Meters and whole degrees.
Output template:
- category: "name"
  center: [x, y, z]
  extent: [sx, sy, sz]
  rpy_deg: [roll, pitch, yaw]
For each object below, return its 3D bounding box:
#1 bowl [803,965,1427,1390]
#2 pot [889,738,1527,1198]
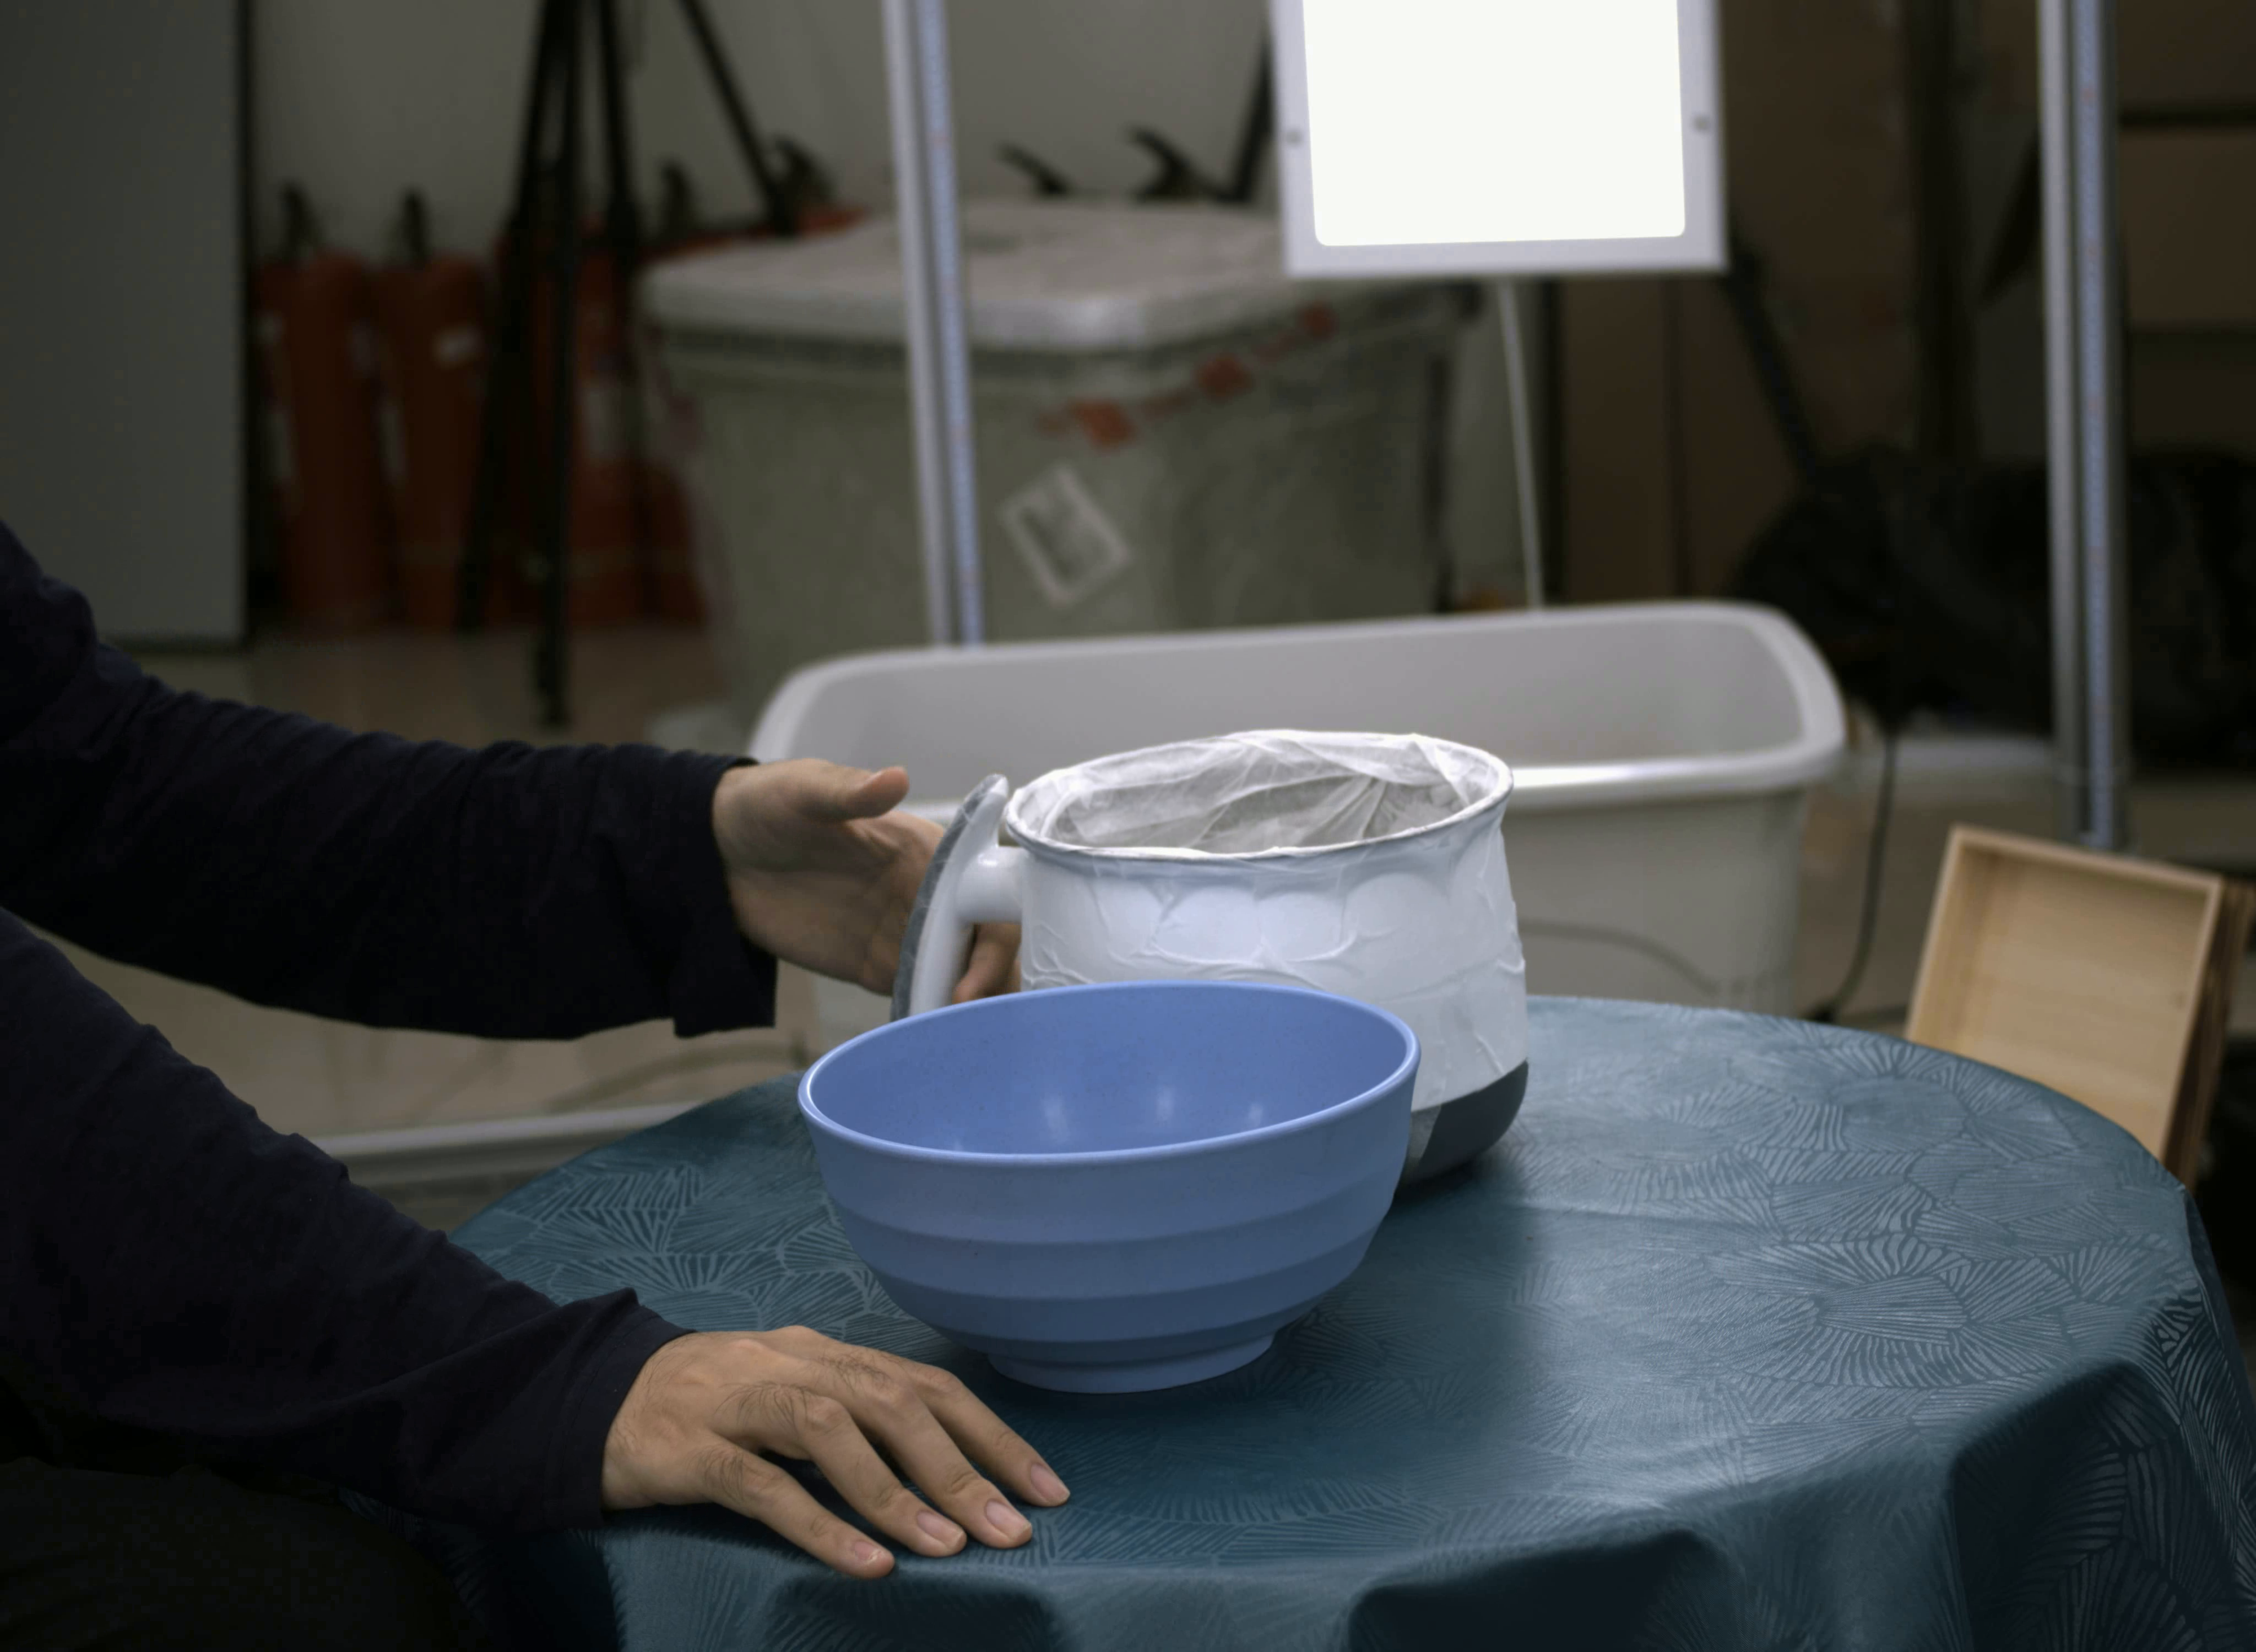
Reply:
- category: "bowl"
  center: [-0.002, 0.117, 1.734]
  extent: [0.196, 0.096, 0.196]
  rpy_deg: [-4, 16, 0]
- category: "pot"
  center: [0.024, 0.048, 1.923]
  extent: [0.237, 0.137, 0.175]
  rpy_deg: [1, 12, 22]
